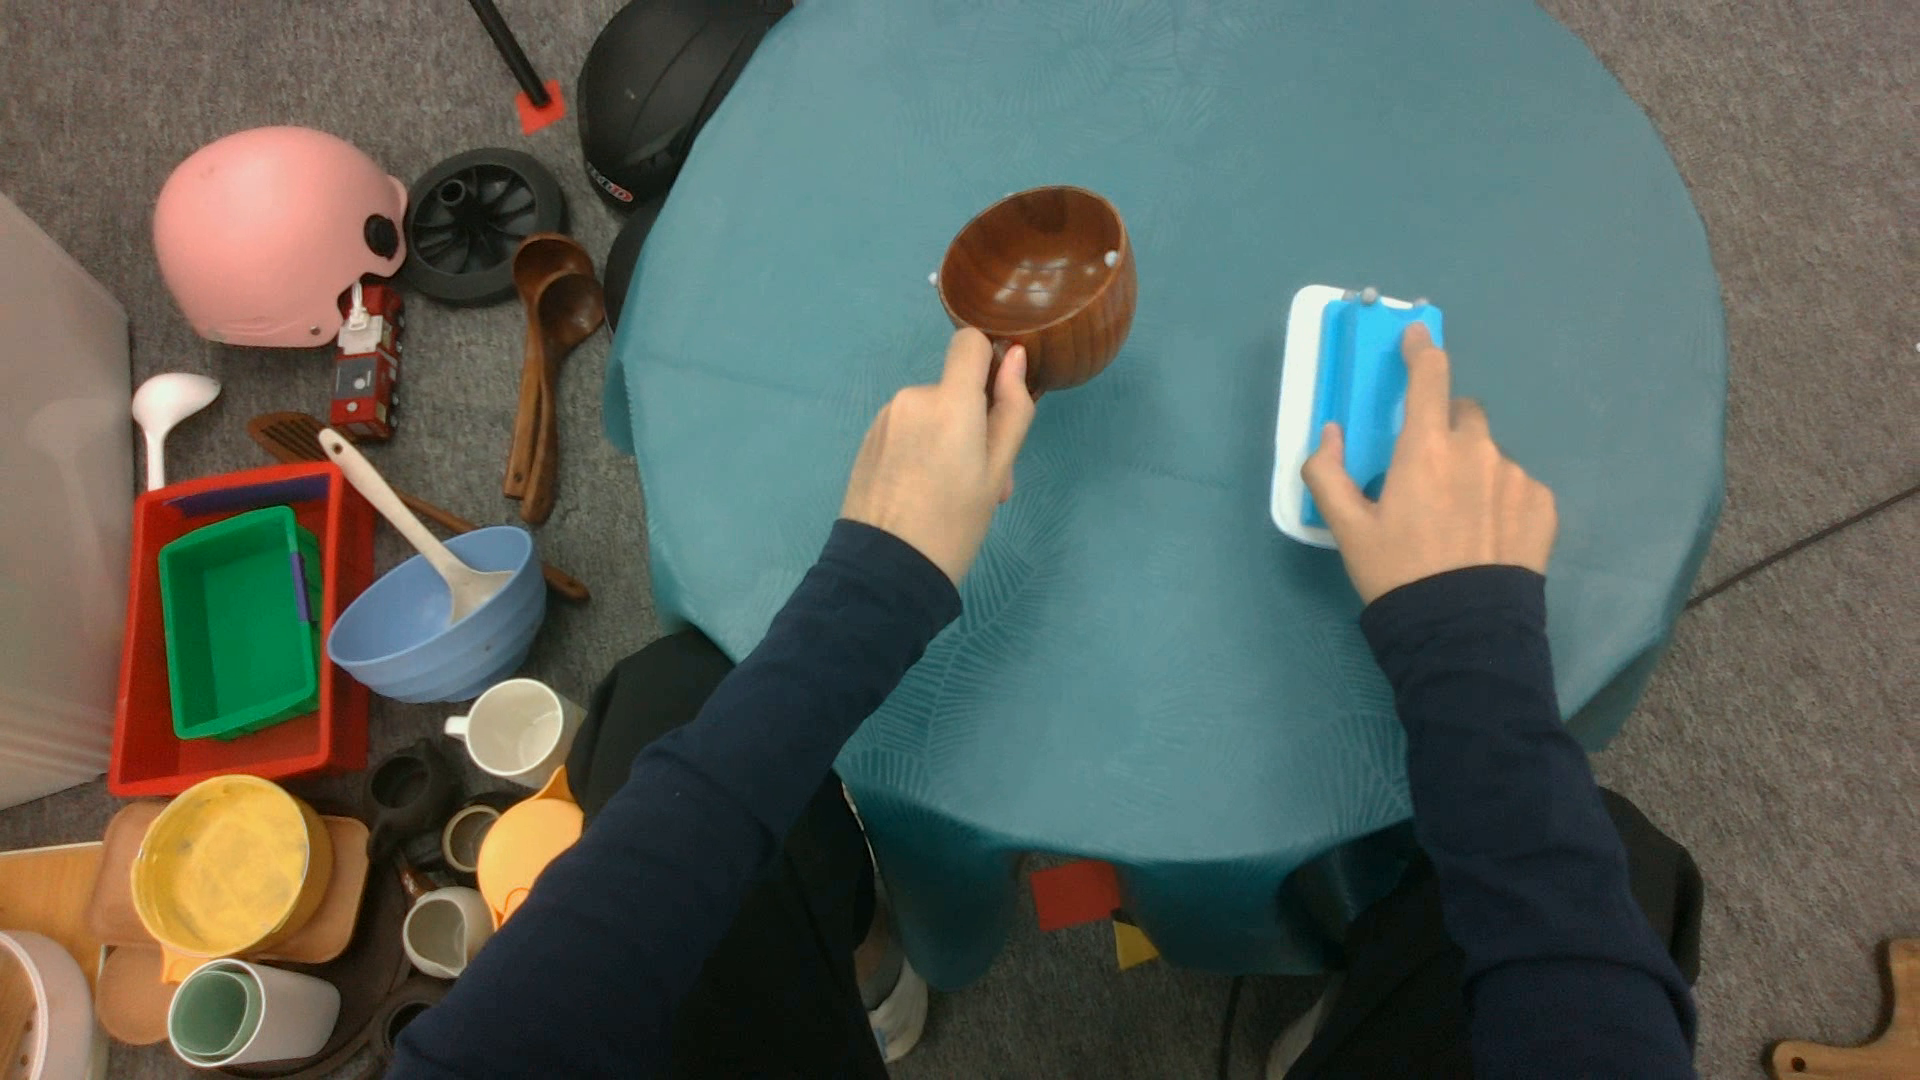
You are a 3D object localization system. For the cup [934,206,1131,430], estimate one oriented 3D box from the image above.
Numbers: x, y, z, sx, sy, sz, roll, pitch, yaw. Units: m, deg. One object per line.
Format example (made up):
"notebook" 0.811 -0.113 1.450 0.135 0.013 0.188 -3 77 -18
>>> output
"cup" 0.038 -0.102 0.692 0.096 0.067 0.120 6 62 21

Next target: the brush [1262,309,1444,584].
"brush" 0.202 -0.054 0.685 0.084 0.056 0.144 13 69 -2
